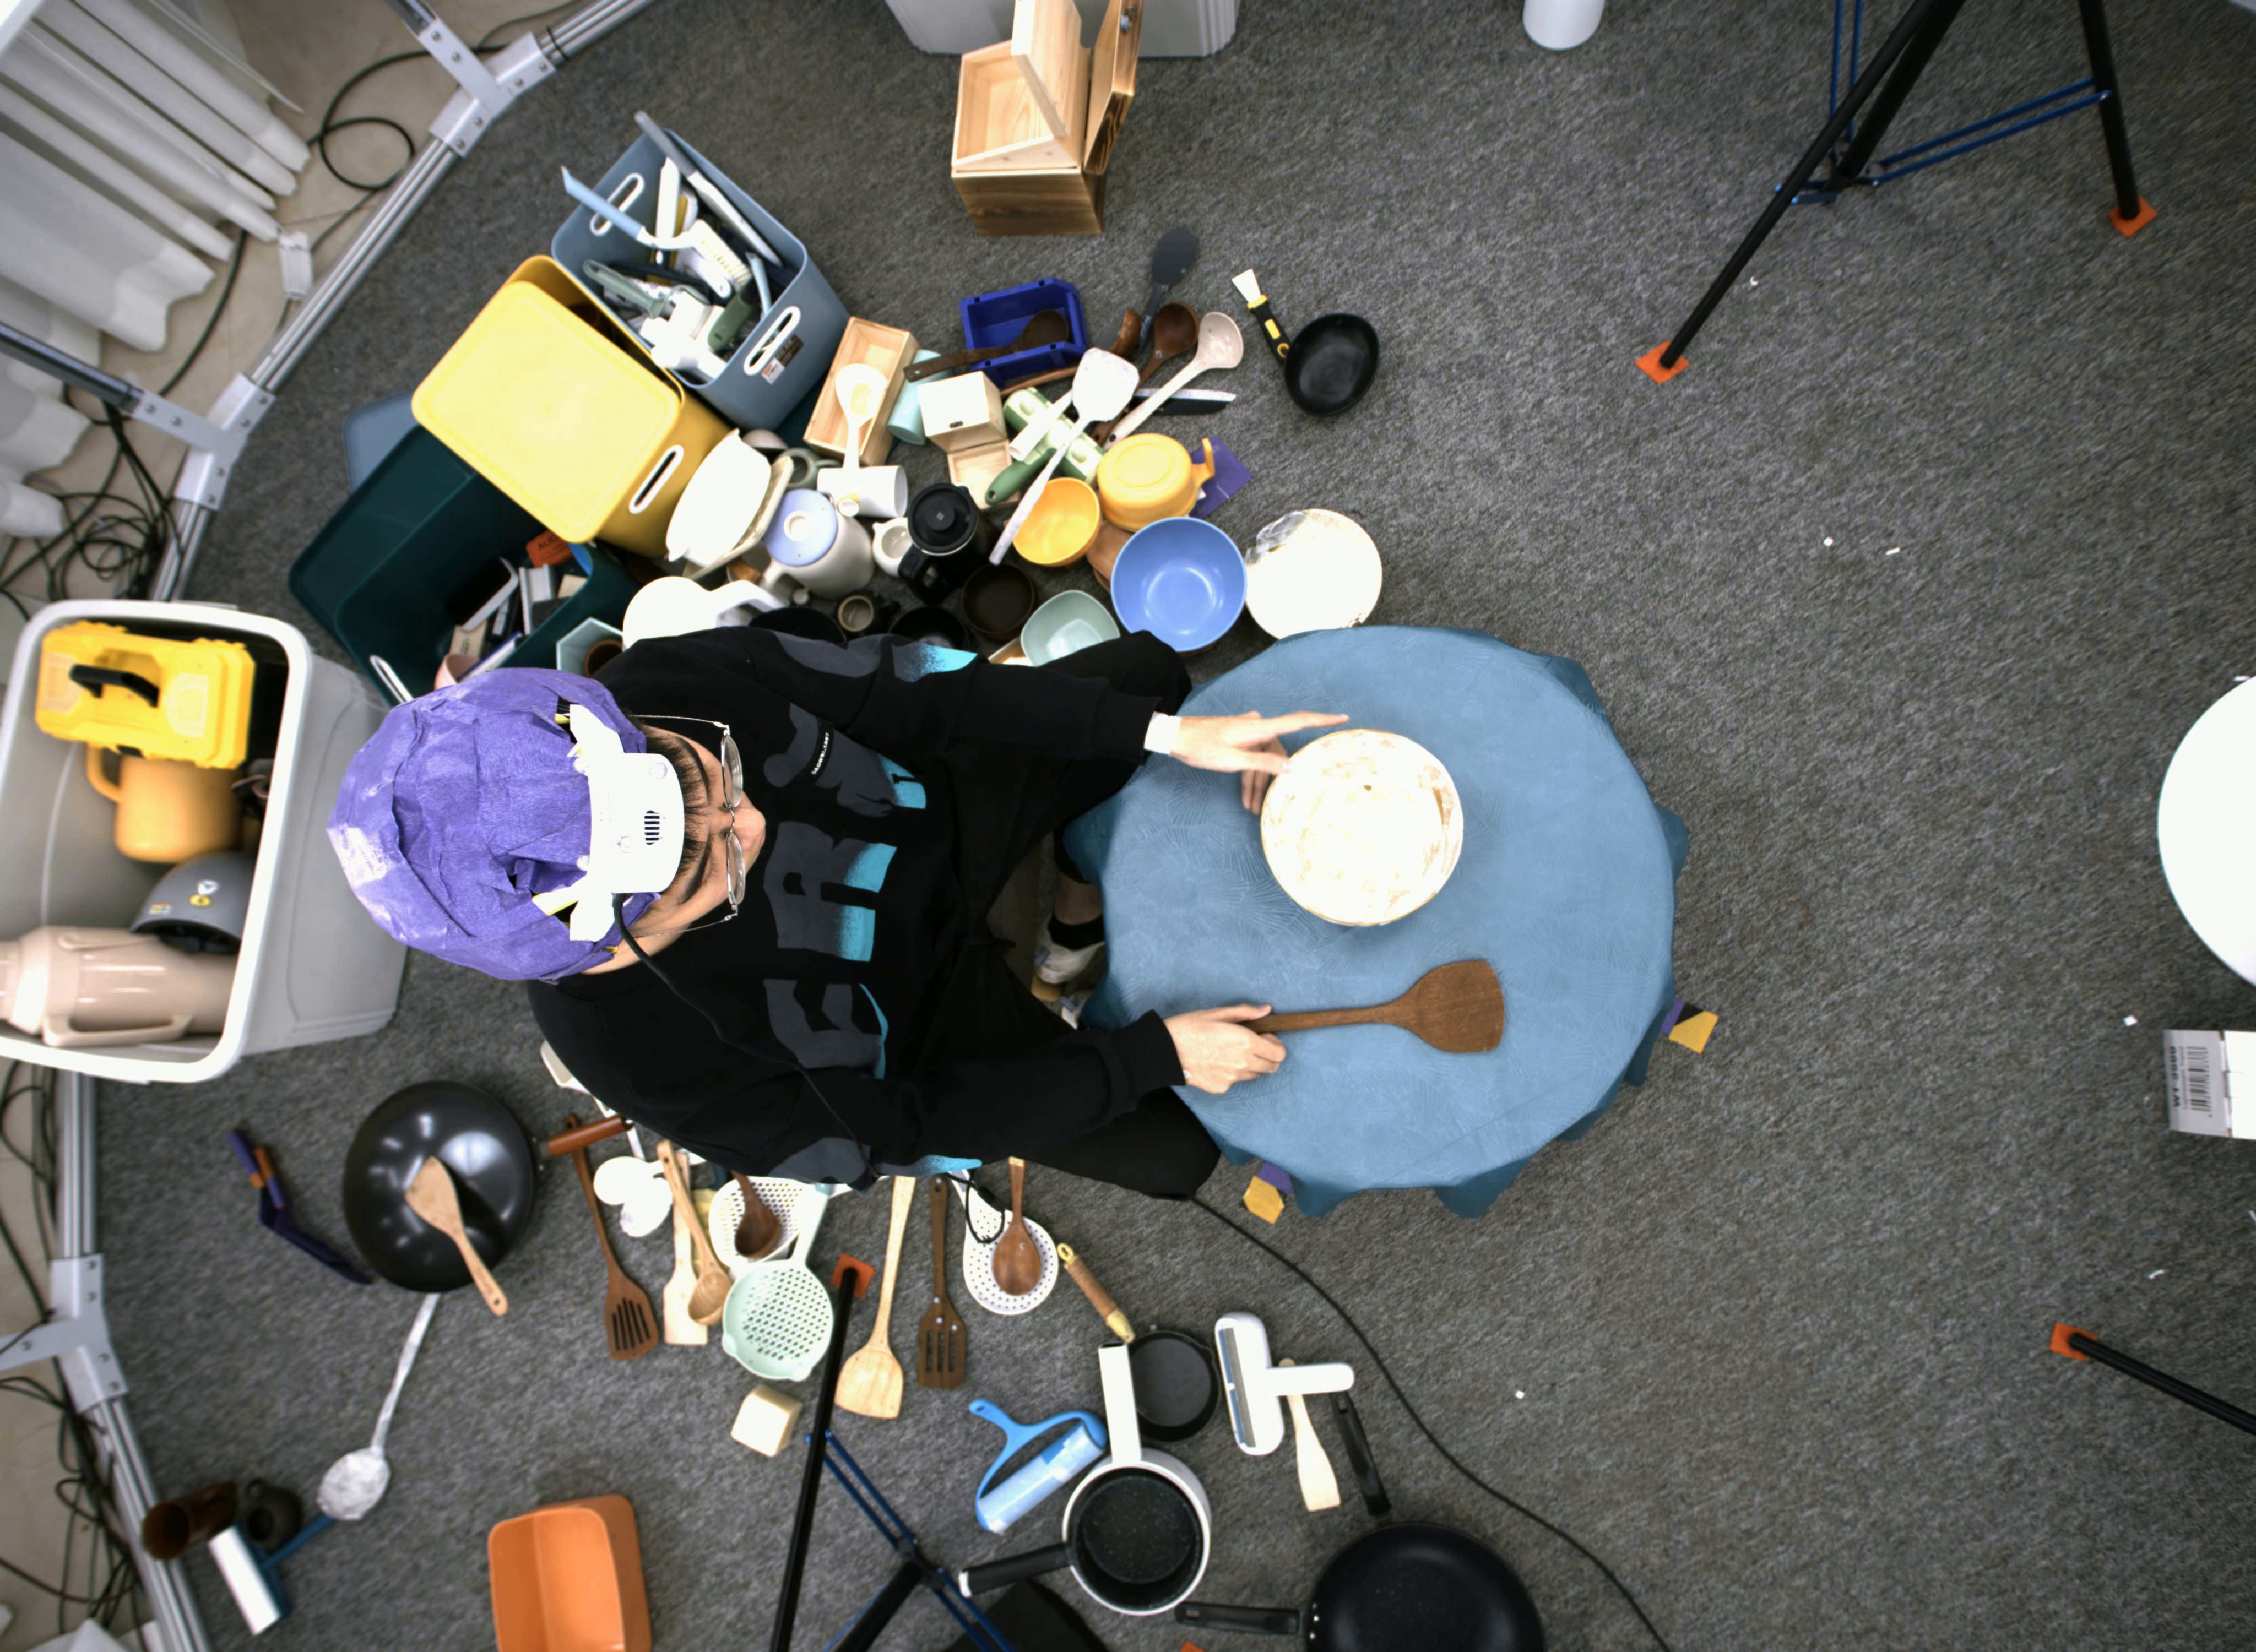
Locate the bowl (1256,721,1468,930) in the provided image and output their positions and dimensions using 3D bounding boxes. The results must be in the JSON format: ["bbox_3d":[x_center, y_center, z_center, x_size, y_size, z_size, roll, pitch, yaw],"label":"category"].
[{"bbox_3d":[0.241,0.004,1.428,0.215,0.094,0.214,-1,87,11],"label":"bowl"}]

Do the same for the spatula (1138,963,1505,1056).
[{"bbox_3d":[0.200,0.206,1.459,0.387,0.016,0.095,-6,84,9],"label":"spatula"}]
